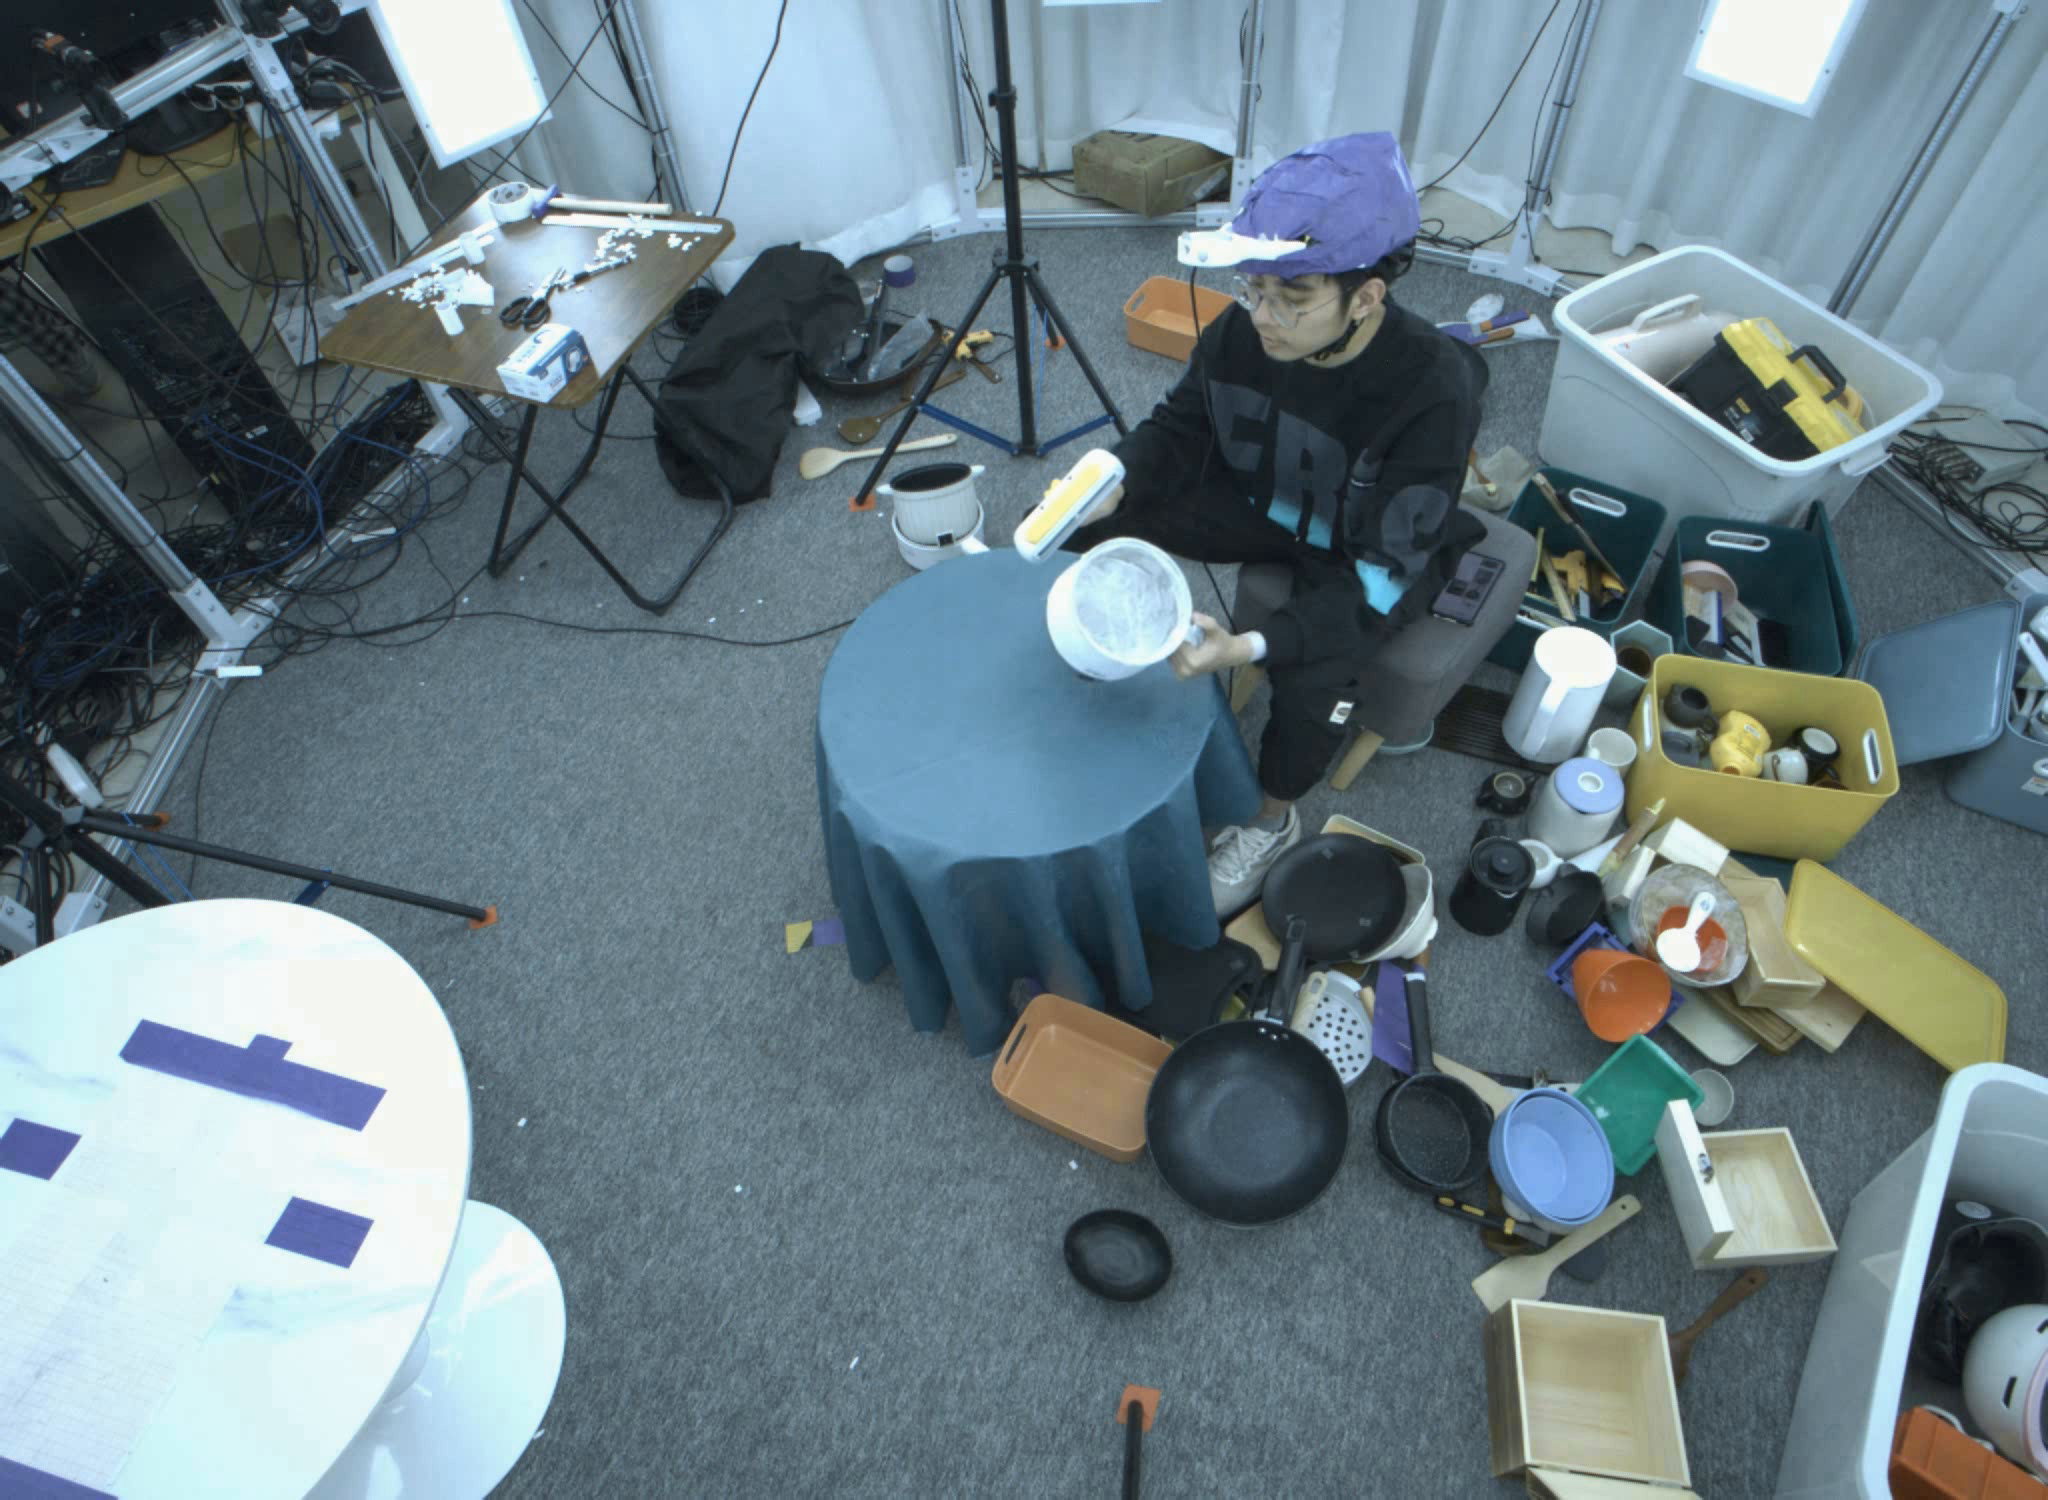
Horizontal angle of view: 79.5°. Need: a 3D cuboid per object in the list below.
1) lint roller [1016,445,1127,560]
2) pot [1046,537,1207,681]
[{"bbox_3d":[0.073,-0.357,1.800,0.074,0.194,0.192,41,98,9],"label":"lint roller"},{"bbox_3d":[0.152,-0.183,1.709,0.237,0.135,0.178,19,78,-16],"label":"pot"}]
